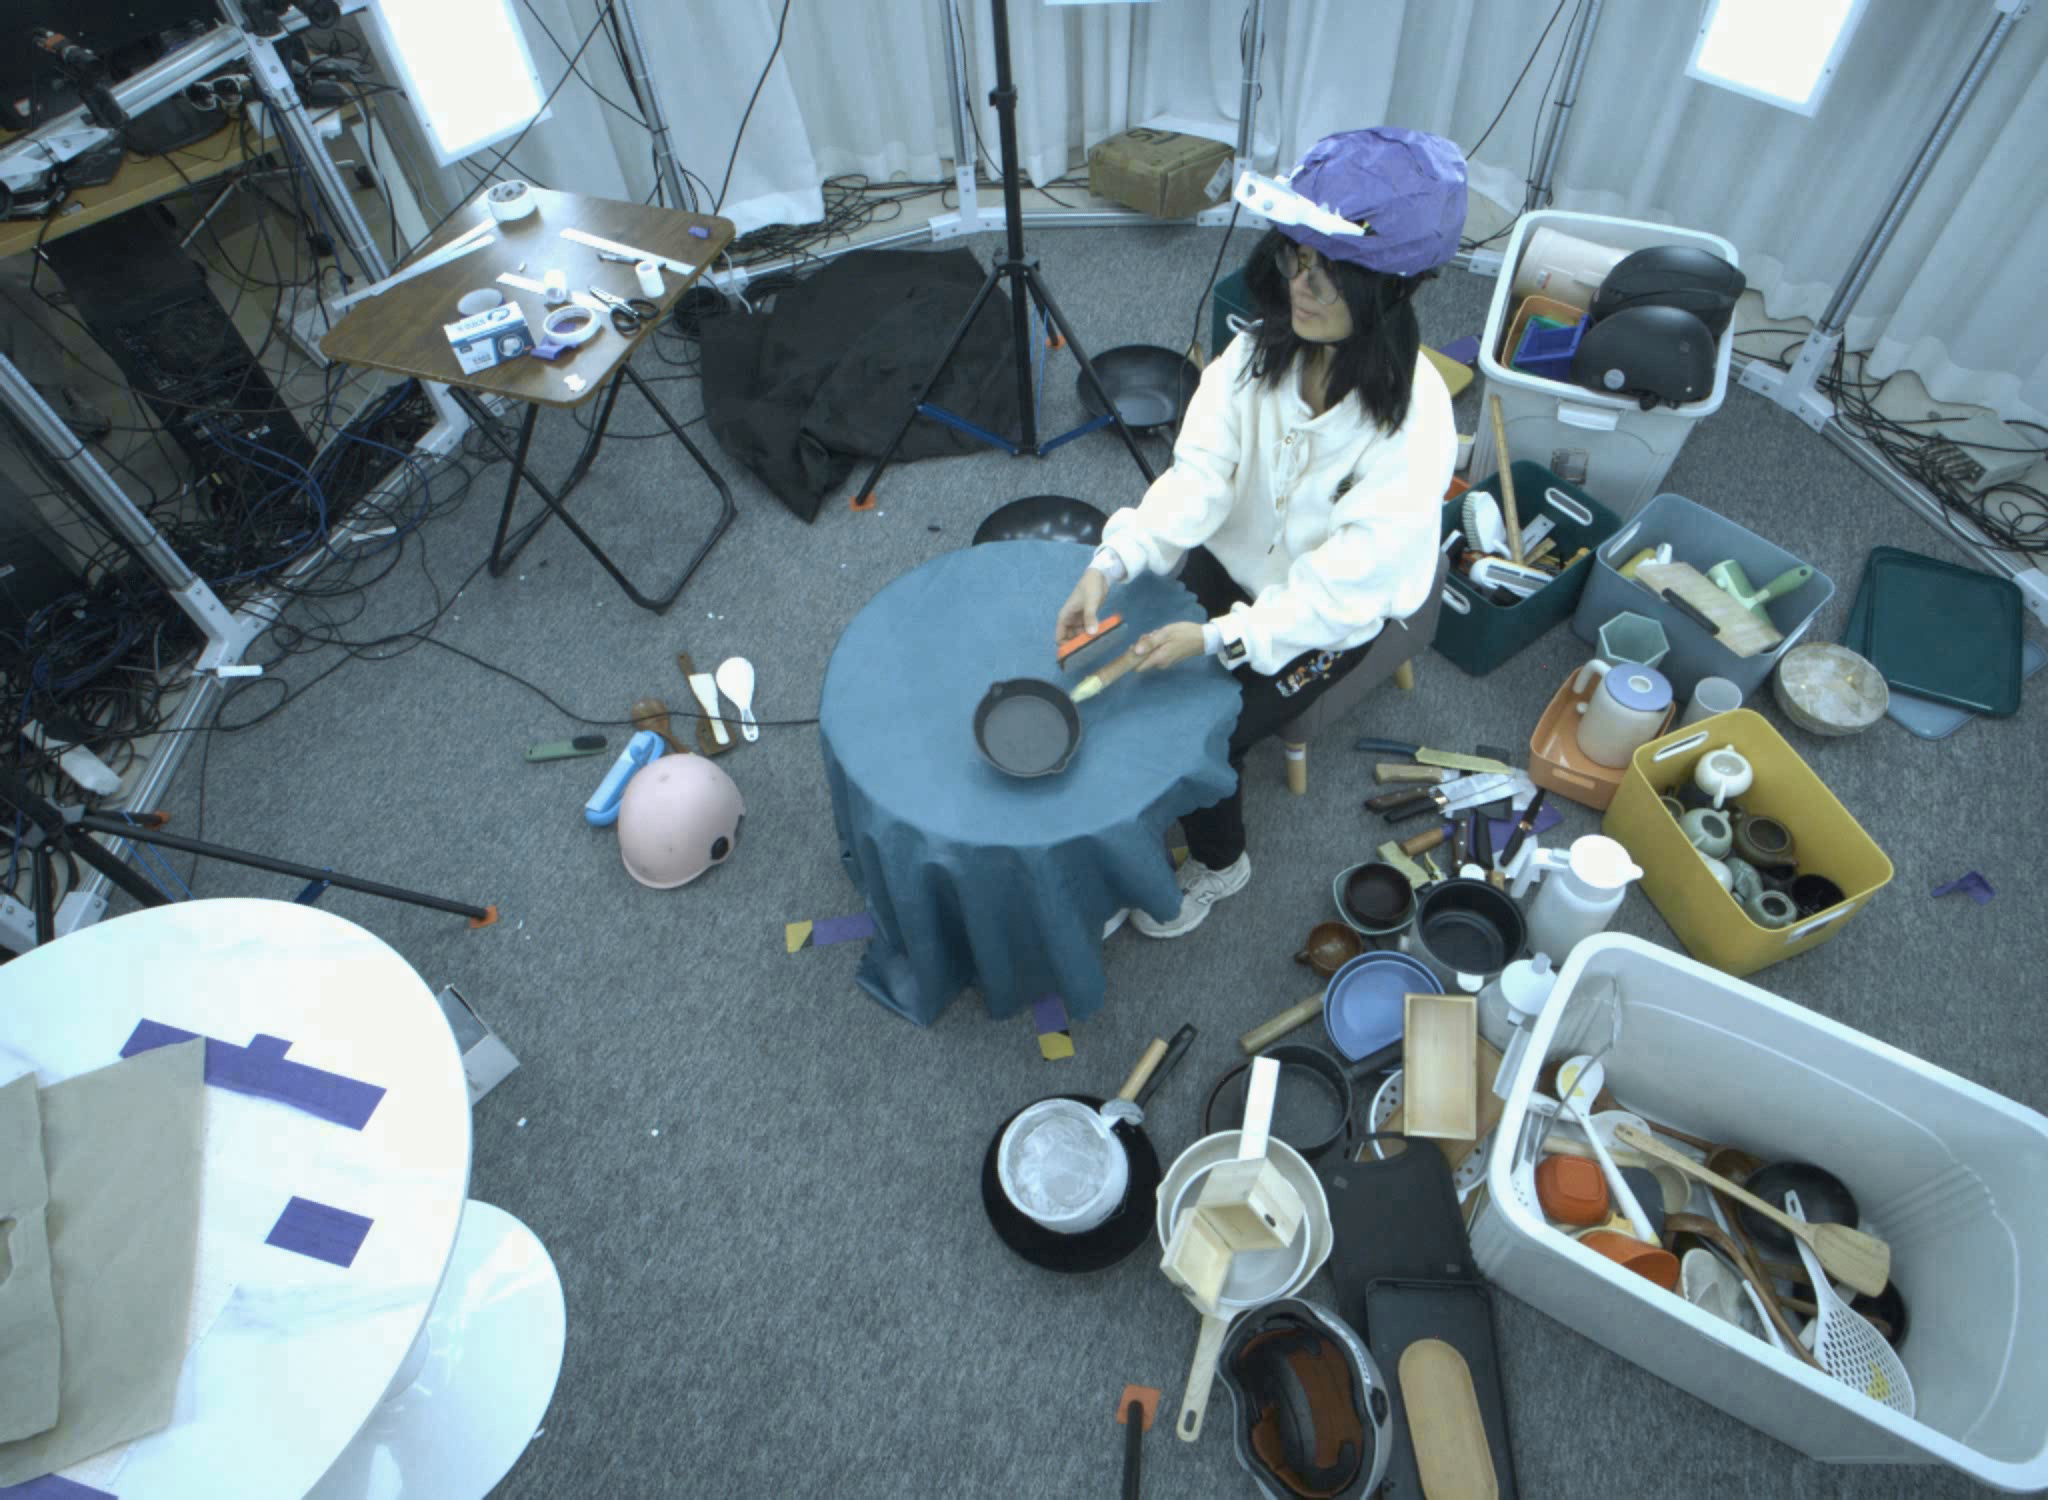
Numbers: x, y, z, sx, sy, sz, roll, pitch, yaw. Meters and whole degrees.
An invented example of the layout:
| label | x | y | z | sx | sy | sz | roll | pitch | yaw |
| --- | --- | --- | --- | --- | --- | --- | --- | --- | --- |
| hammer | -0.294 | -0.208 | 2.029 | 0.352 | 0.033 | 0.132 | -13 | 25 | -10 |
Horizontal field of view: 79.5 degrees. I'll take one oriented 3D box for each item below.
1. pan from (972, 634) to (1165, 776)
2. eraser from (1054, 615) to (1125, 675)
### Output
| label | x | y | z | sx | sy | sz | roll | pitch | yaw |
| --- | --- | --- | --- | --- | --- | --- | --- | --- | --- |
| pan | 0.073 | -0.076 | 1.782 | 0.326 | 0.050 | 0.167 | -32 | 73 | -15 |
| eraser | 0.095 | -0.152 | 1.780 | 0.108 | 0.059 | 0.022 | -31 | 73 | -9 |
